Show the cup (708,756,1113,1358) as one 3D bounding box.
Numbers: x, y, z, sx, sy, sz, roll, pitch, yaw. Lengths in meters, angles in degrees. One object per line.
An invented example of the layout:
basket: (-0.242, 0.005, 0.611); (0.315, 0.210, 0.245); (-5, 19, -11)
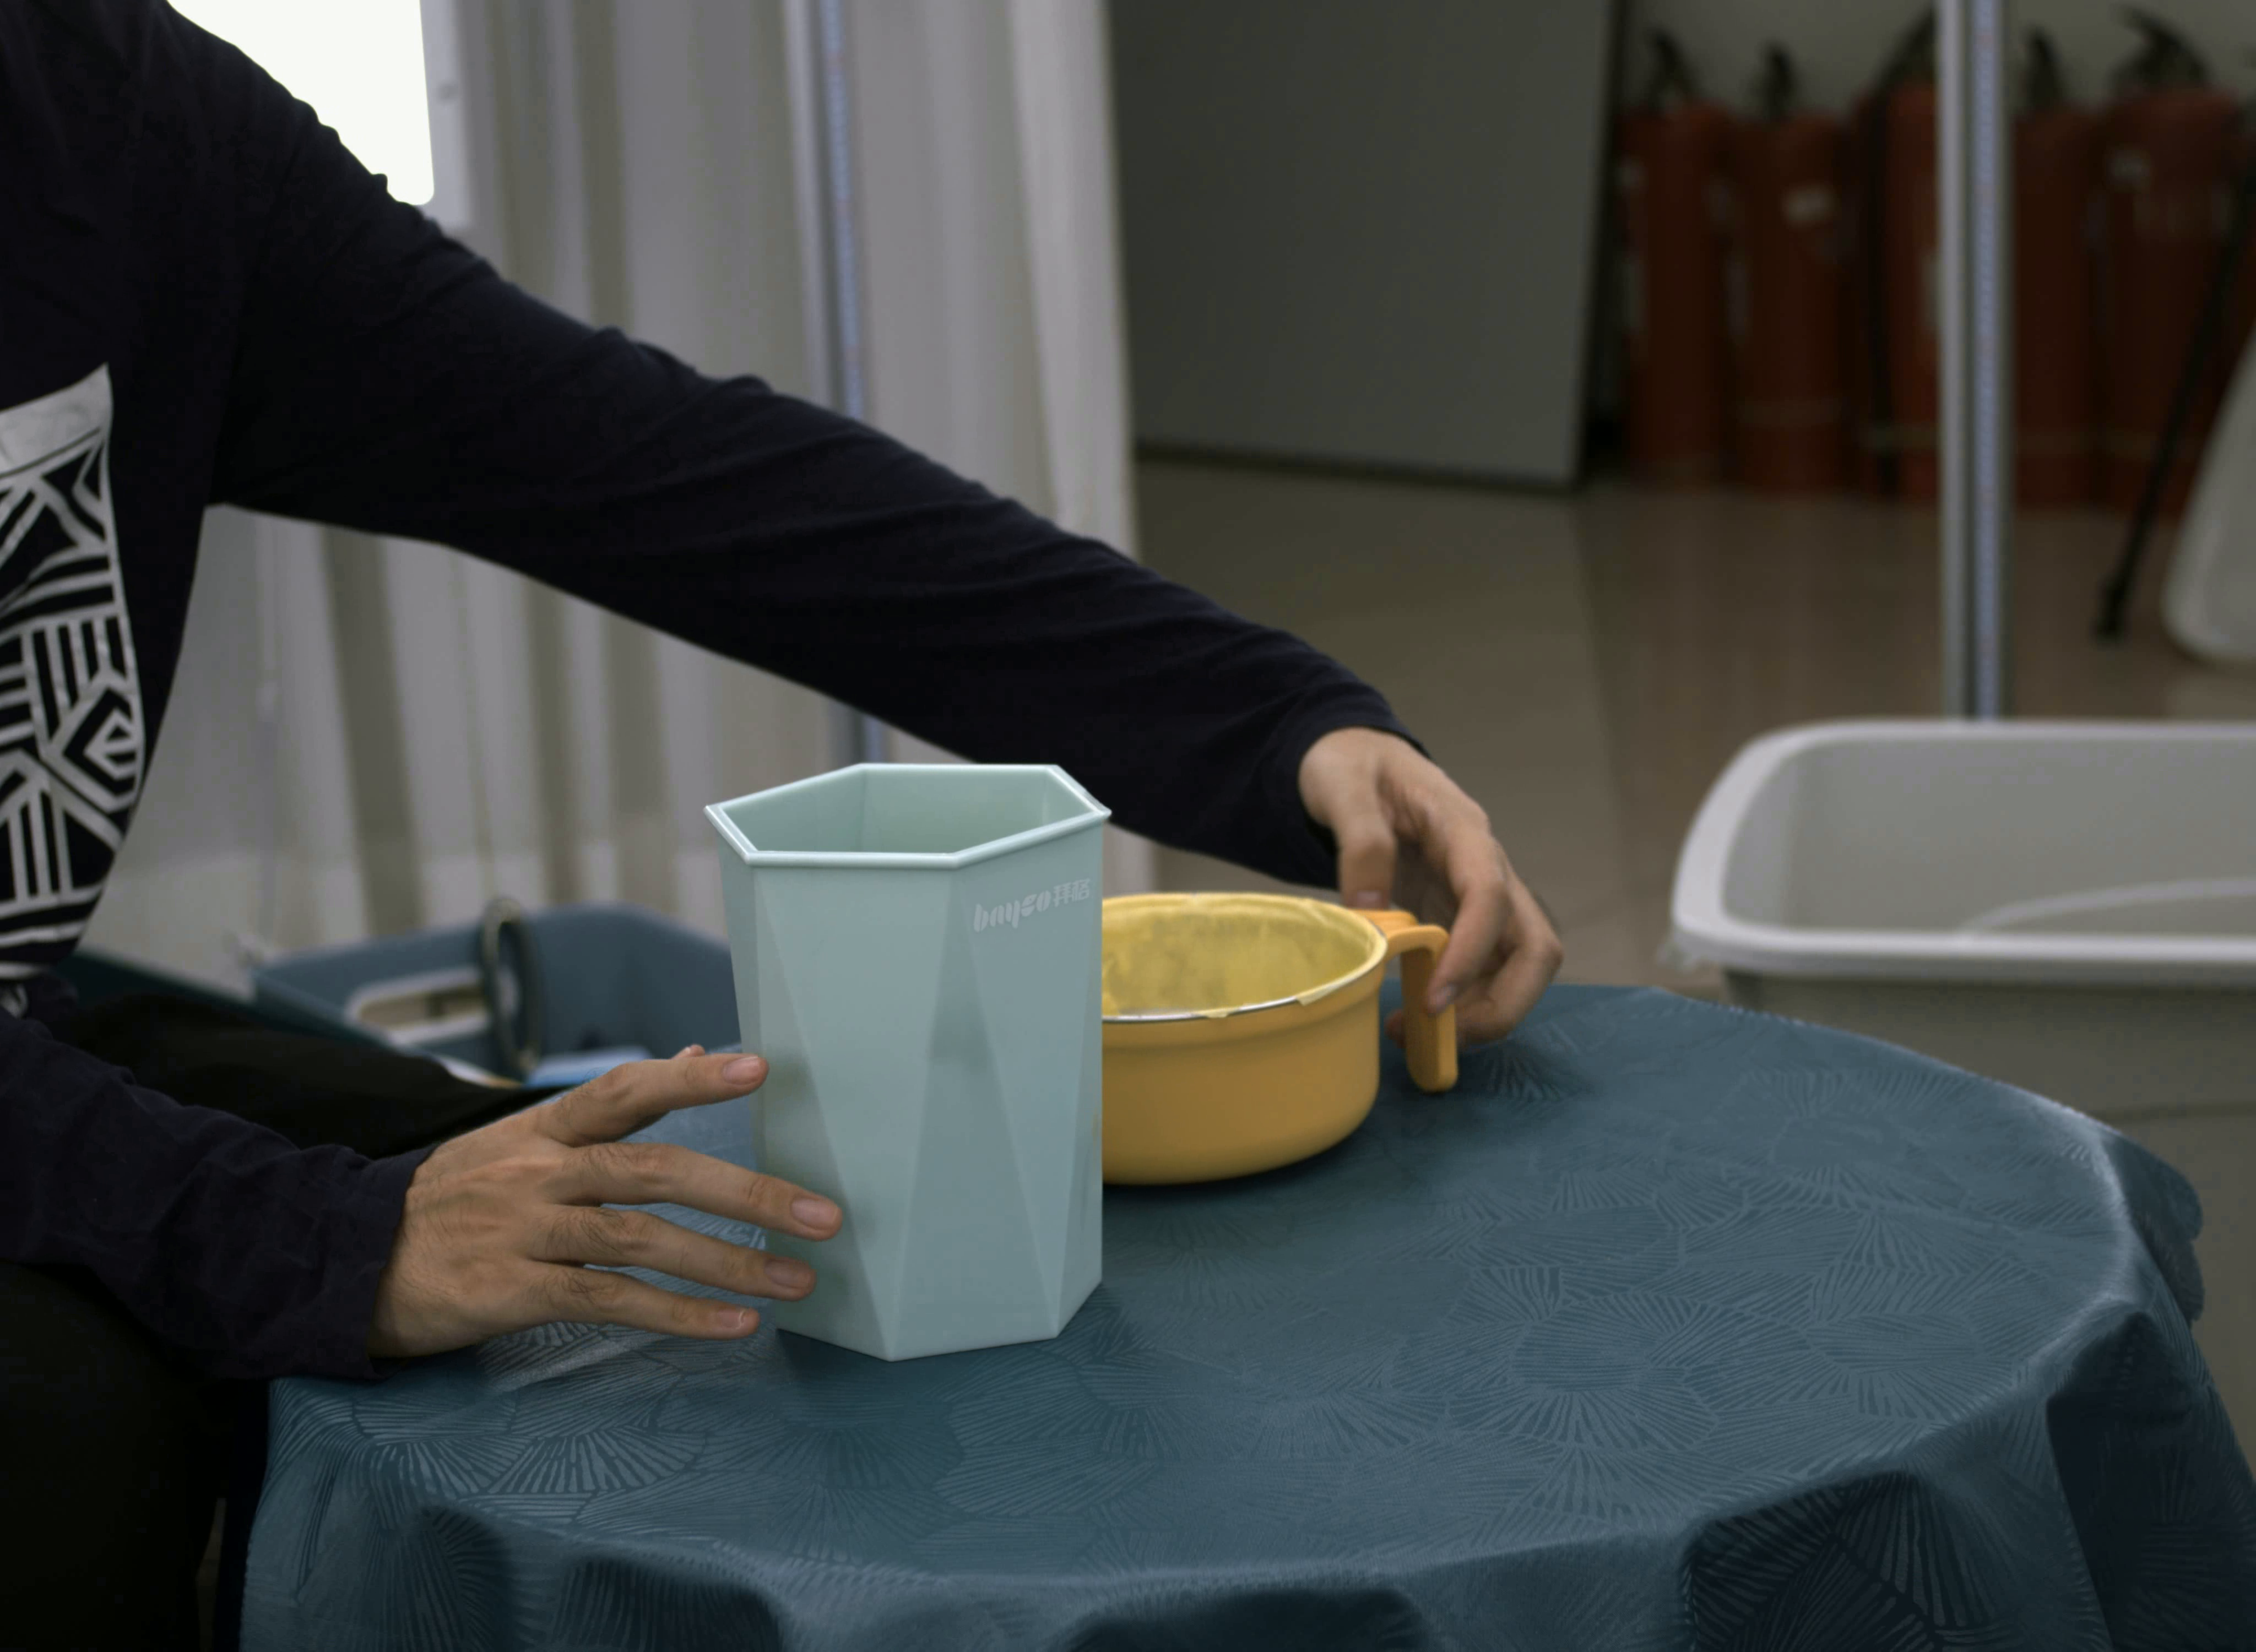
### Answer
cup: (-0.061, 0.070, 1.656); (0.116, 0.165, 0.128); (8, 17, 44)

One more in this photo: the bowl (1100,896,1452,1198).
bowl: (0.027, 0.074, 1.821); (0.175, 0.075, 0.154); (-12, 14, -25)
